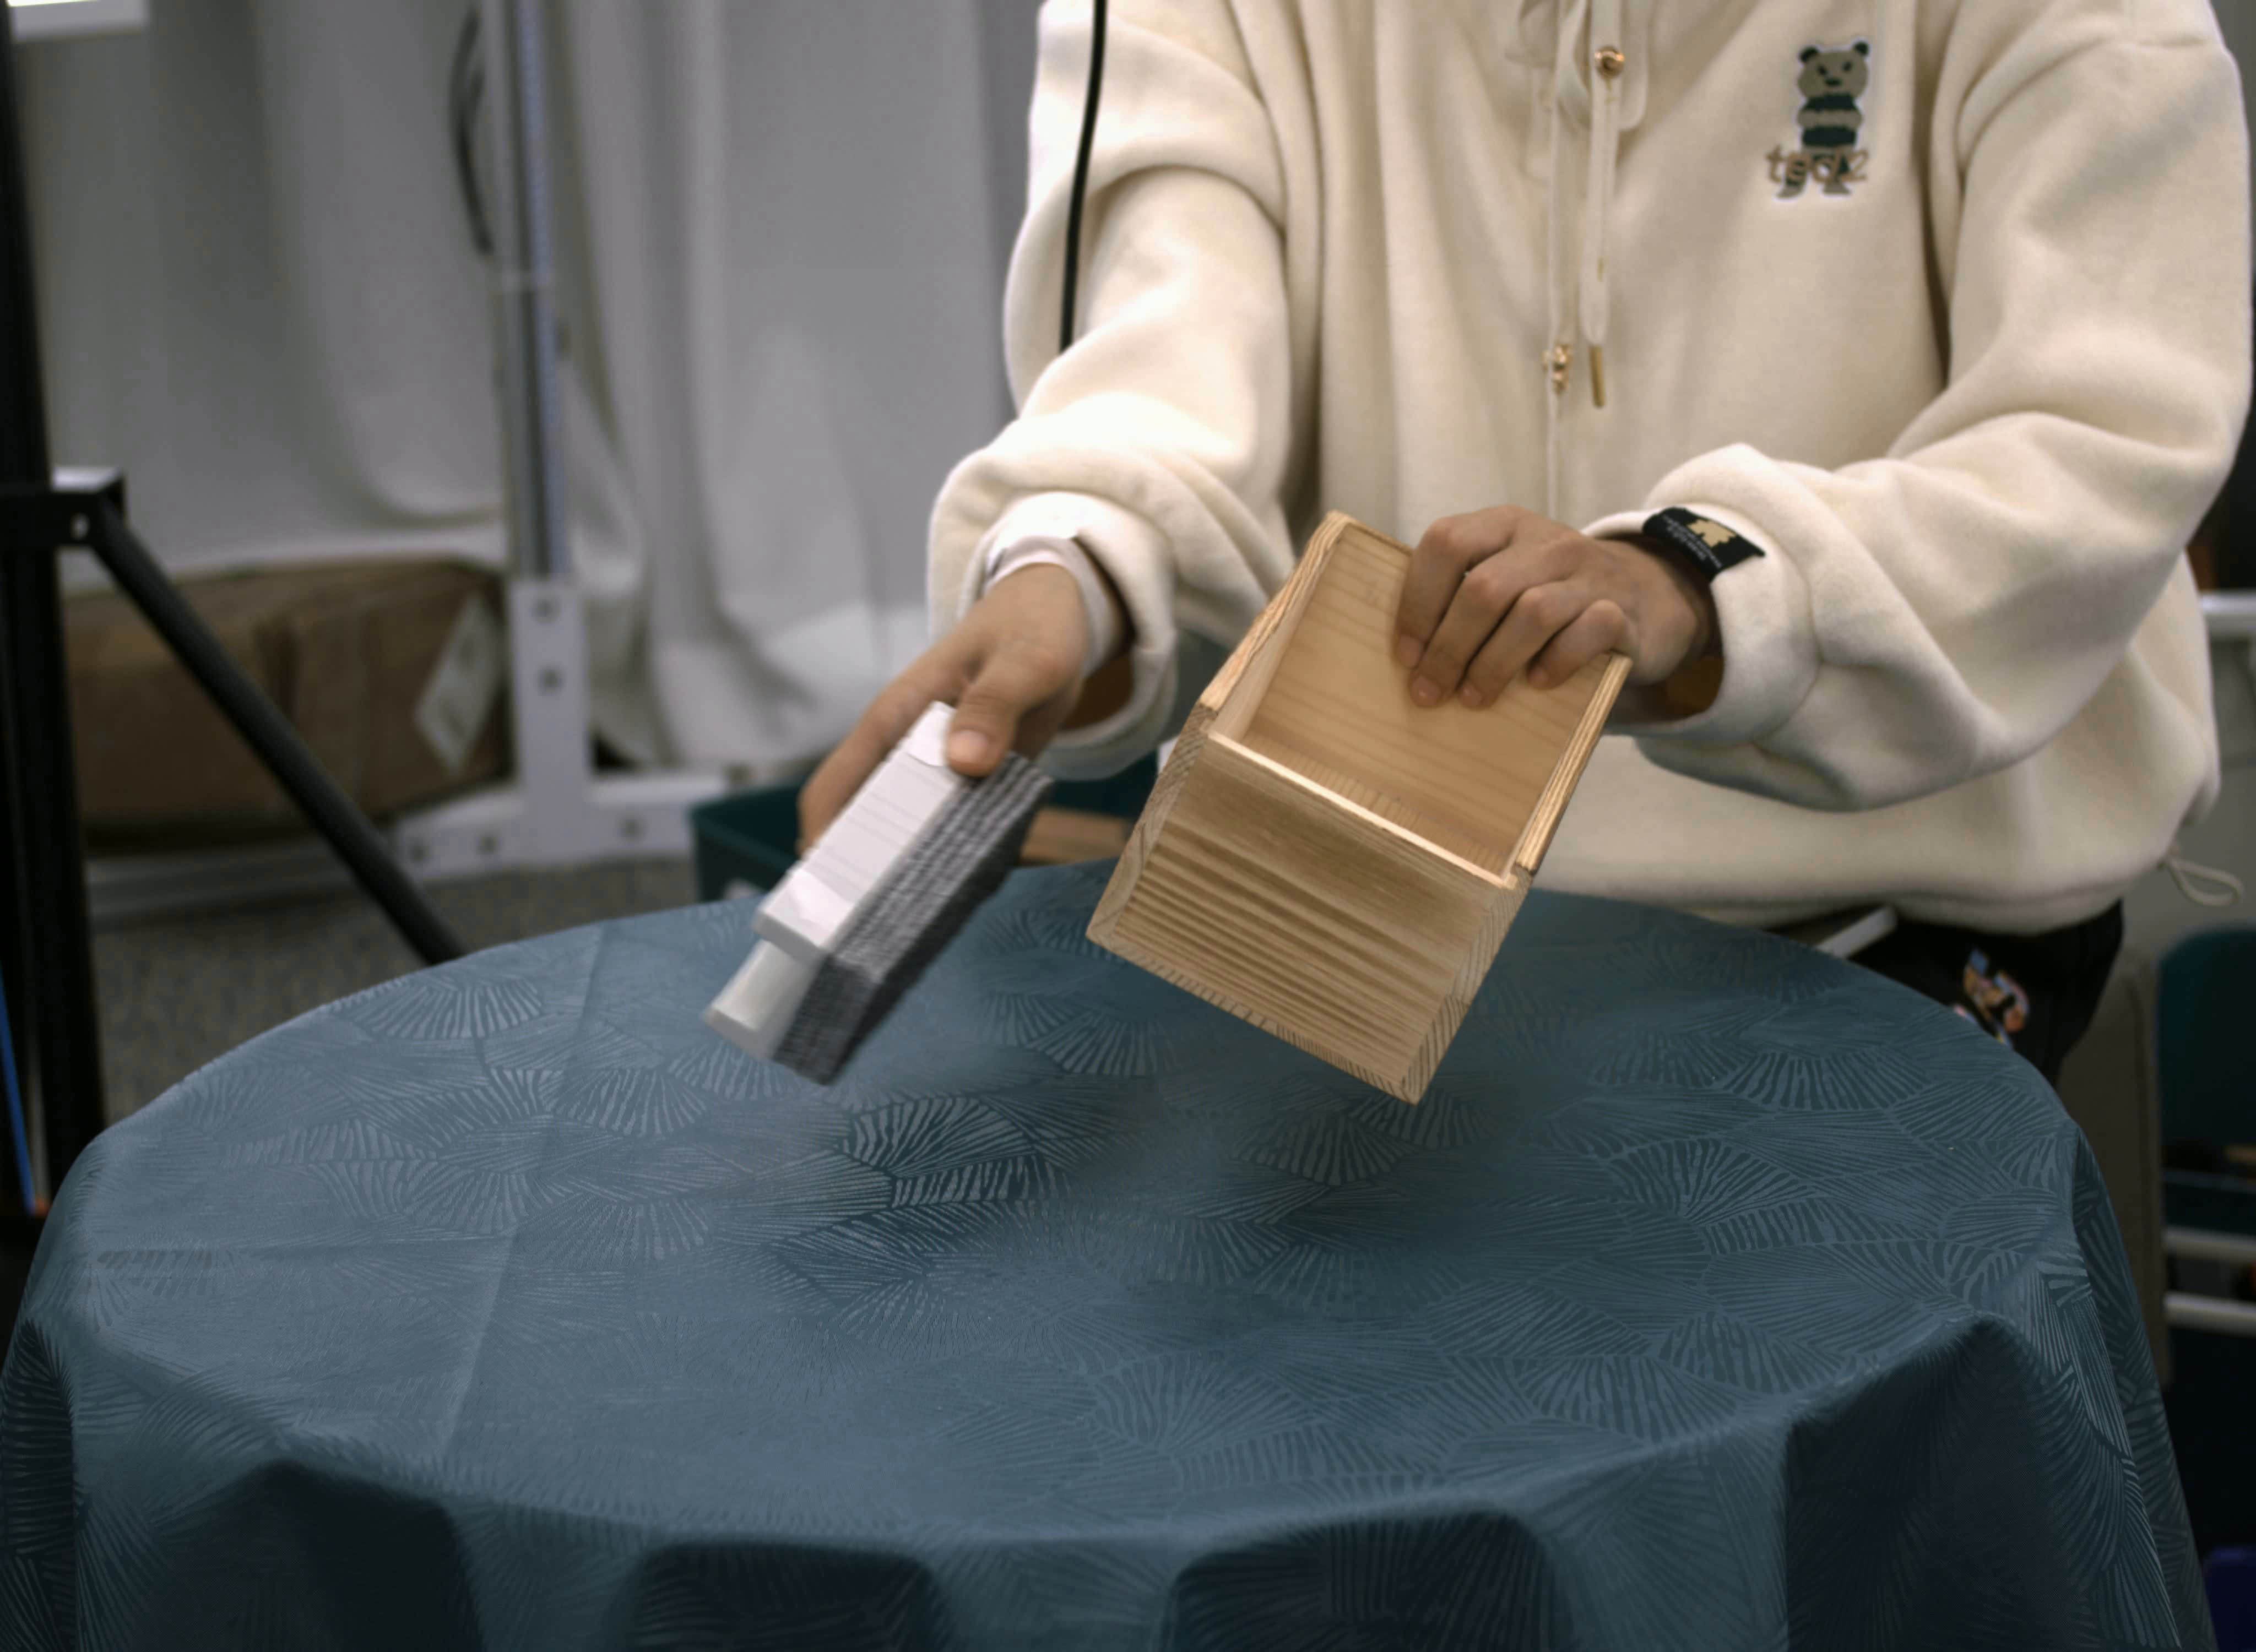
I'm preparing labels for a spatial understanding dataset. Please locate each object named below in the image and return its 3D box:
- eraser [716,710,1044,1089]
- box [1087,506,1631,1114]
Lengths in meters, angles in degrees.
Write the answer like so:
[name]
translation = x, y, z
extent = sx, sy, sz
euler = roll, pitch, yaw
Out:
[eraser]
translation = -0.071, 0.021, 1.581
extent = 0.046, 0.050, 0.133
euler = 29, 33, 4
[box]
translation = 0.072, -0.009, 1.562
extent = 0.107, 0.080, 0.210
euler = 27, 22, 3
